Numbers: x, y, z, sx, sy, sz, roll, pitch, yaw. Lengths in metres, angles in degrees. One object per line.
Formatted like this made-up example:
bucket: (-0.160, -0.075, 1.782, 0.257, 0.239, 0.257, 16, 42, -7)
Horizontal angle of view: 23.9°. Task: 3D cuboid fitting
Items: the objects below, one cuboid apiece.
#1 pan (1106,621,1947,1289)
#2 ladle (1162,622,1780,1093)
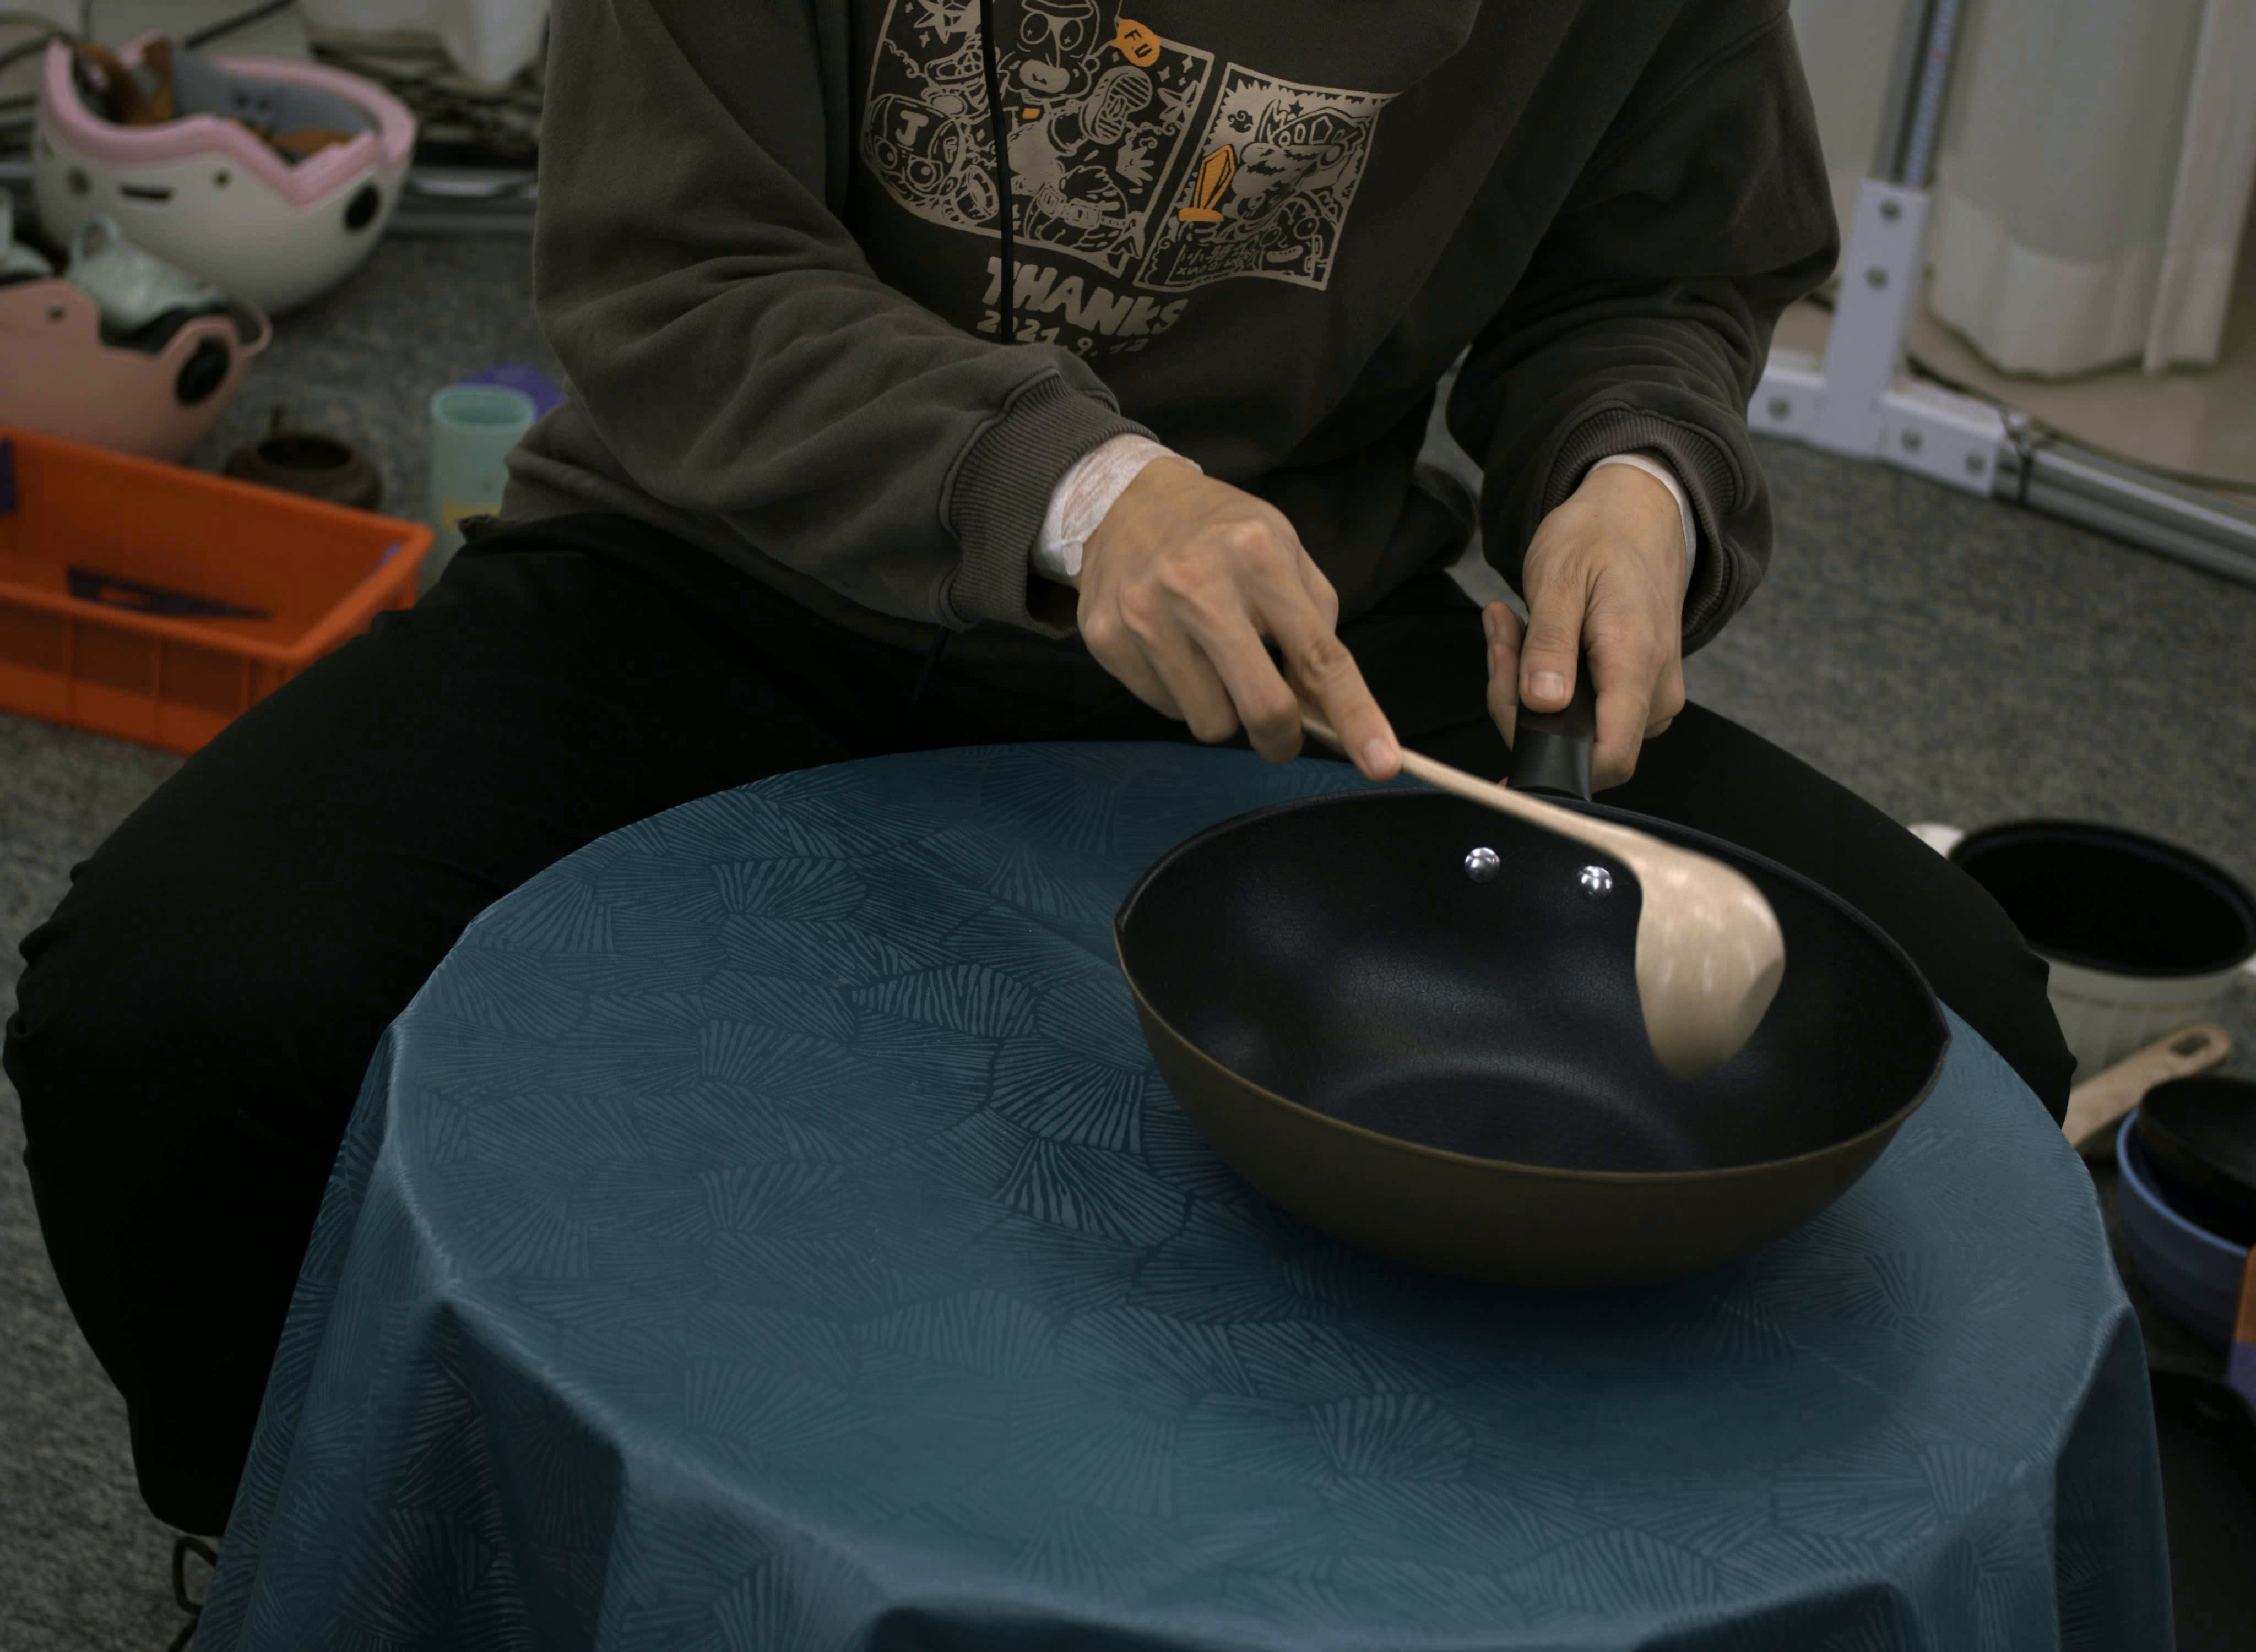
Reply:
pan: (0.141, 0.045, 1.901, 0.287, 0.086, 0.465, 8, 25, 4)
ladle: (0.108, 0.012, 1.848, 0.256, 0.072, 0.072, 27, 28, 26)
